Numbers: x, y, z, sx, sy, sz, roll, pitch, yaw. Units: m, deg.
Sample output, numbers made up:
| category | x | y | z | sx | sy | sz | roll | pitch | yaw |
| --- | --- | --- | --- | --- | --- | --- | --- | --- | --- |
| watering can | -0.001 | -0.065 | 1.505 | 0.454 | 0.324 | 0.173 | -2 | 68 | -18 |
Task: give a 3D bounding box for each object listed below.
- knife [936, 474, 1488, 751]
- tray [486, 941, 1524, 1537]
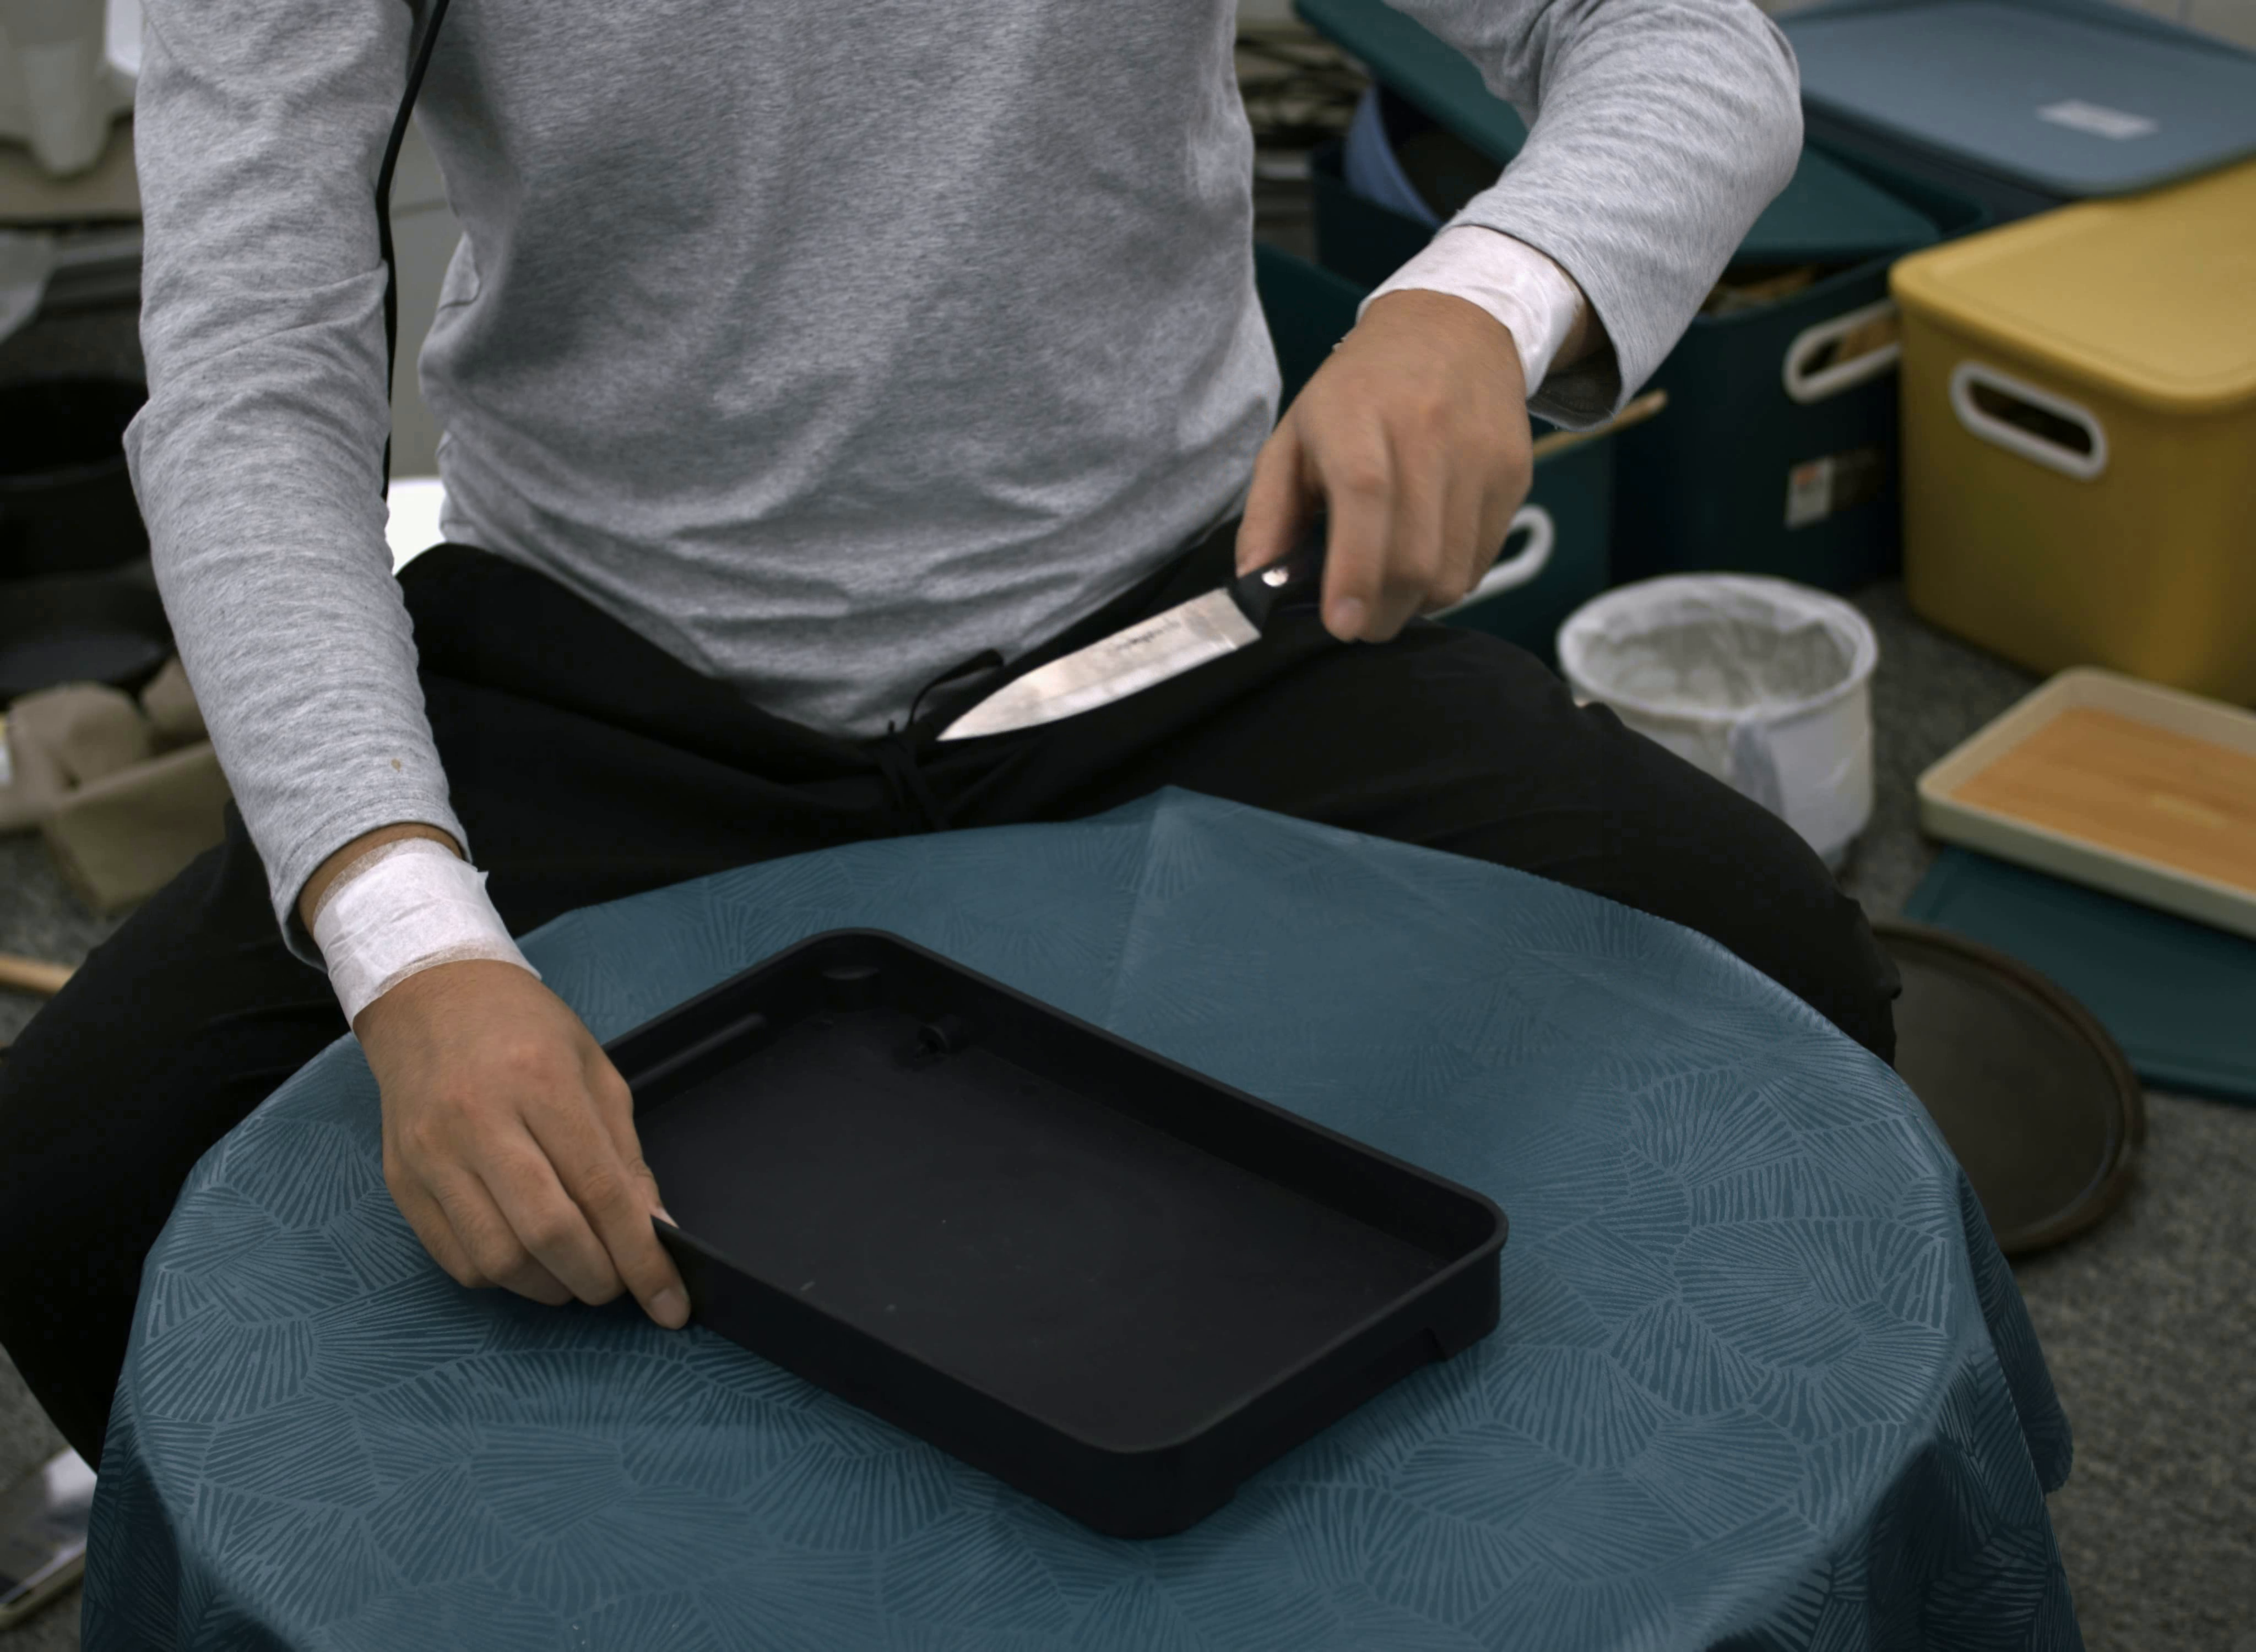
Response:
| category | x | y | z | sx | sy | sz | roll | pitch | yaw |
| --- | --- | --- | --- | --- | --- | --- | --- | --- | --- |
| knife | 0.026 | -0.068 | 1.777 | 0.241 | 0.016 | 0.024 | -26 | 67 | -37 |
| tray | -0.043 | 0.127 | 1.816 | 0.317 | 0.036 | 0.186 | 20 | 34 | 38 |
